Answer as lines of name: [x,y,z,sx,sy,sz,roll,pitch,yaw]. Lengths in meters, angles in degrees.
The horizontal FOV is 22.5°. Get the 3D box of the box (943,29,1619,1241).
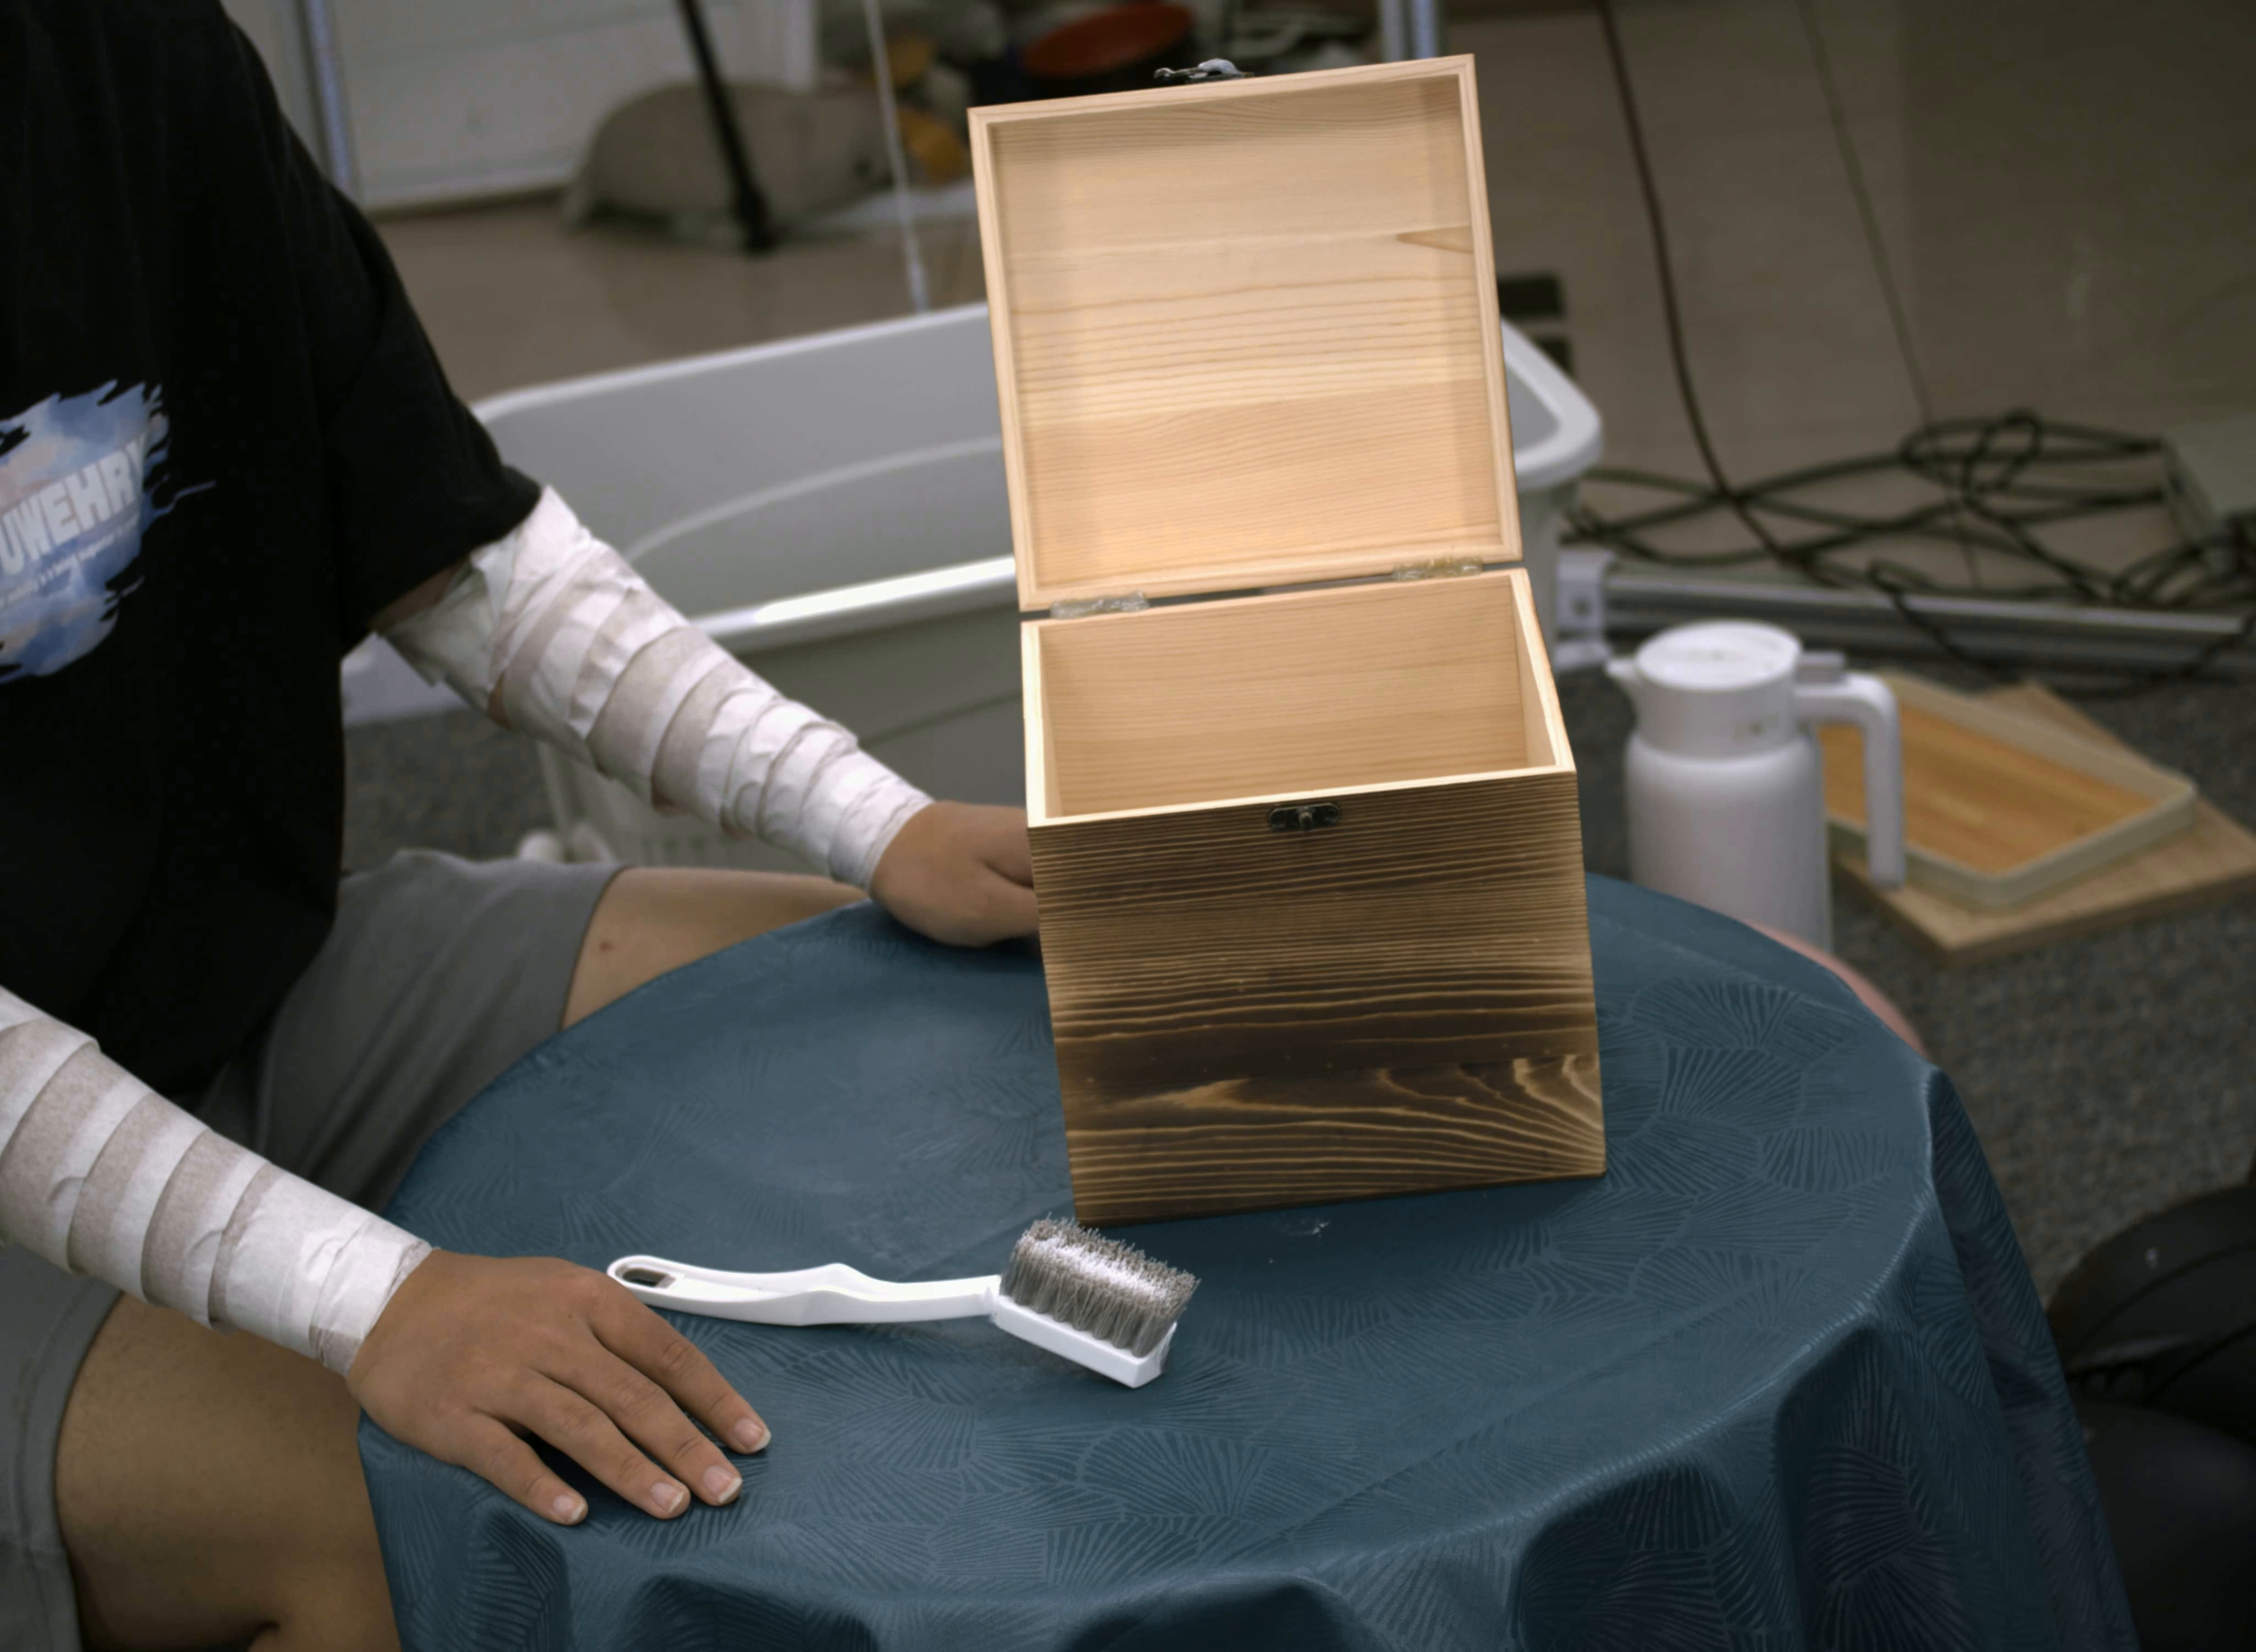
box: [0.055,-0.084,2.176,0.208,0.381,0.317,-7,26,2]

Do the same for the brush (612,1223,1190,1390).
brush: [-0.088,0.161,2.064,0.242,0.051,0.034,8,32,29]
